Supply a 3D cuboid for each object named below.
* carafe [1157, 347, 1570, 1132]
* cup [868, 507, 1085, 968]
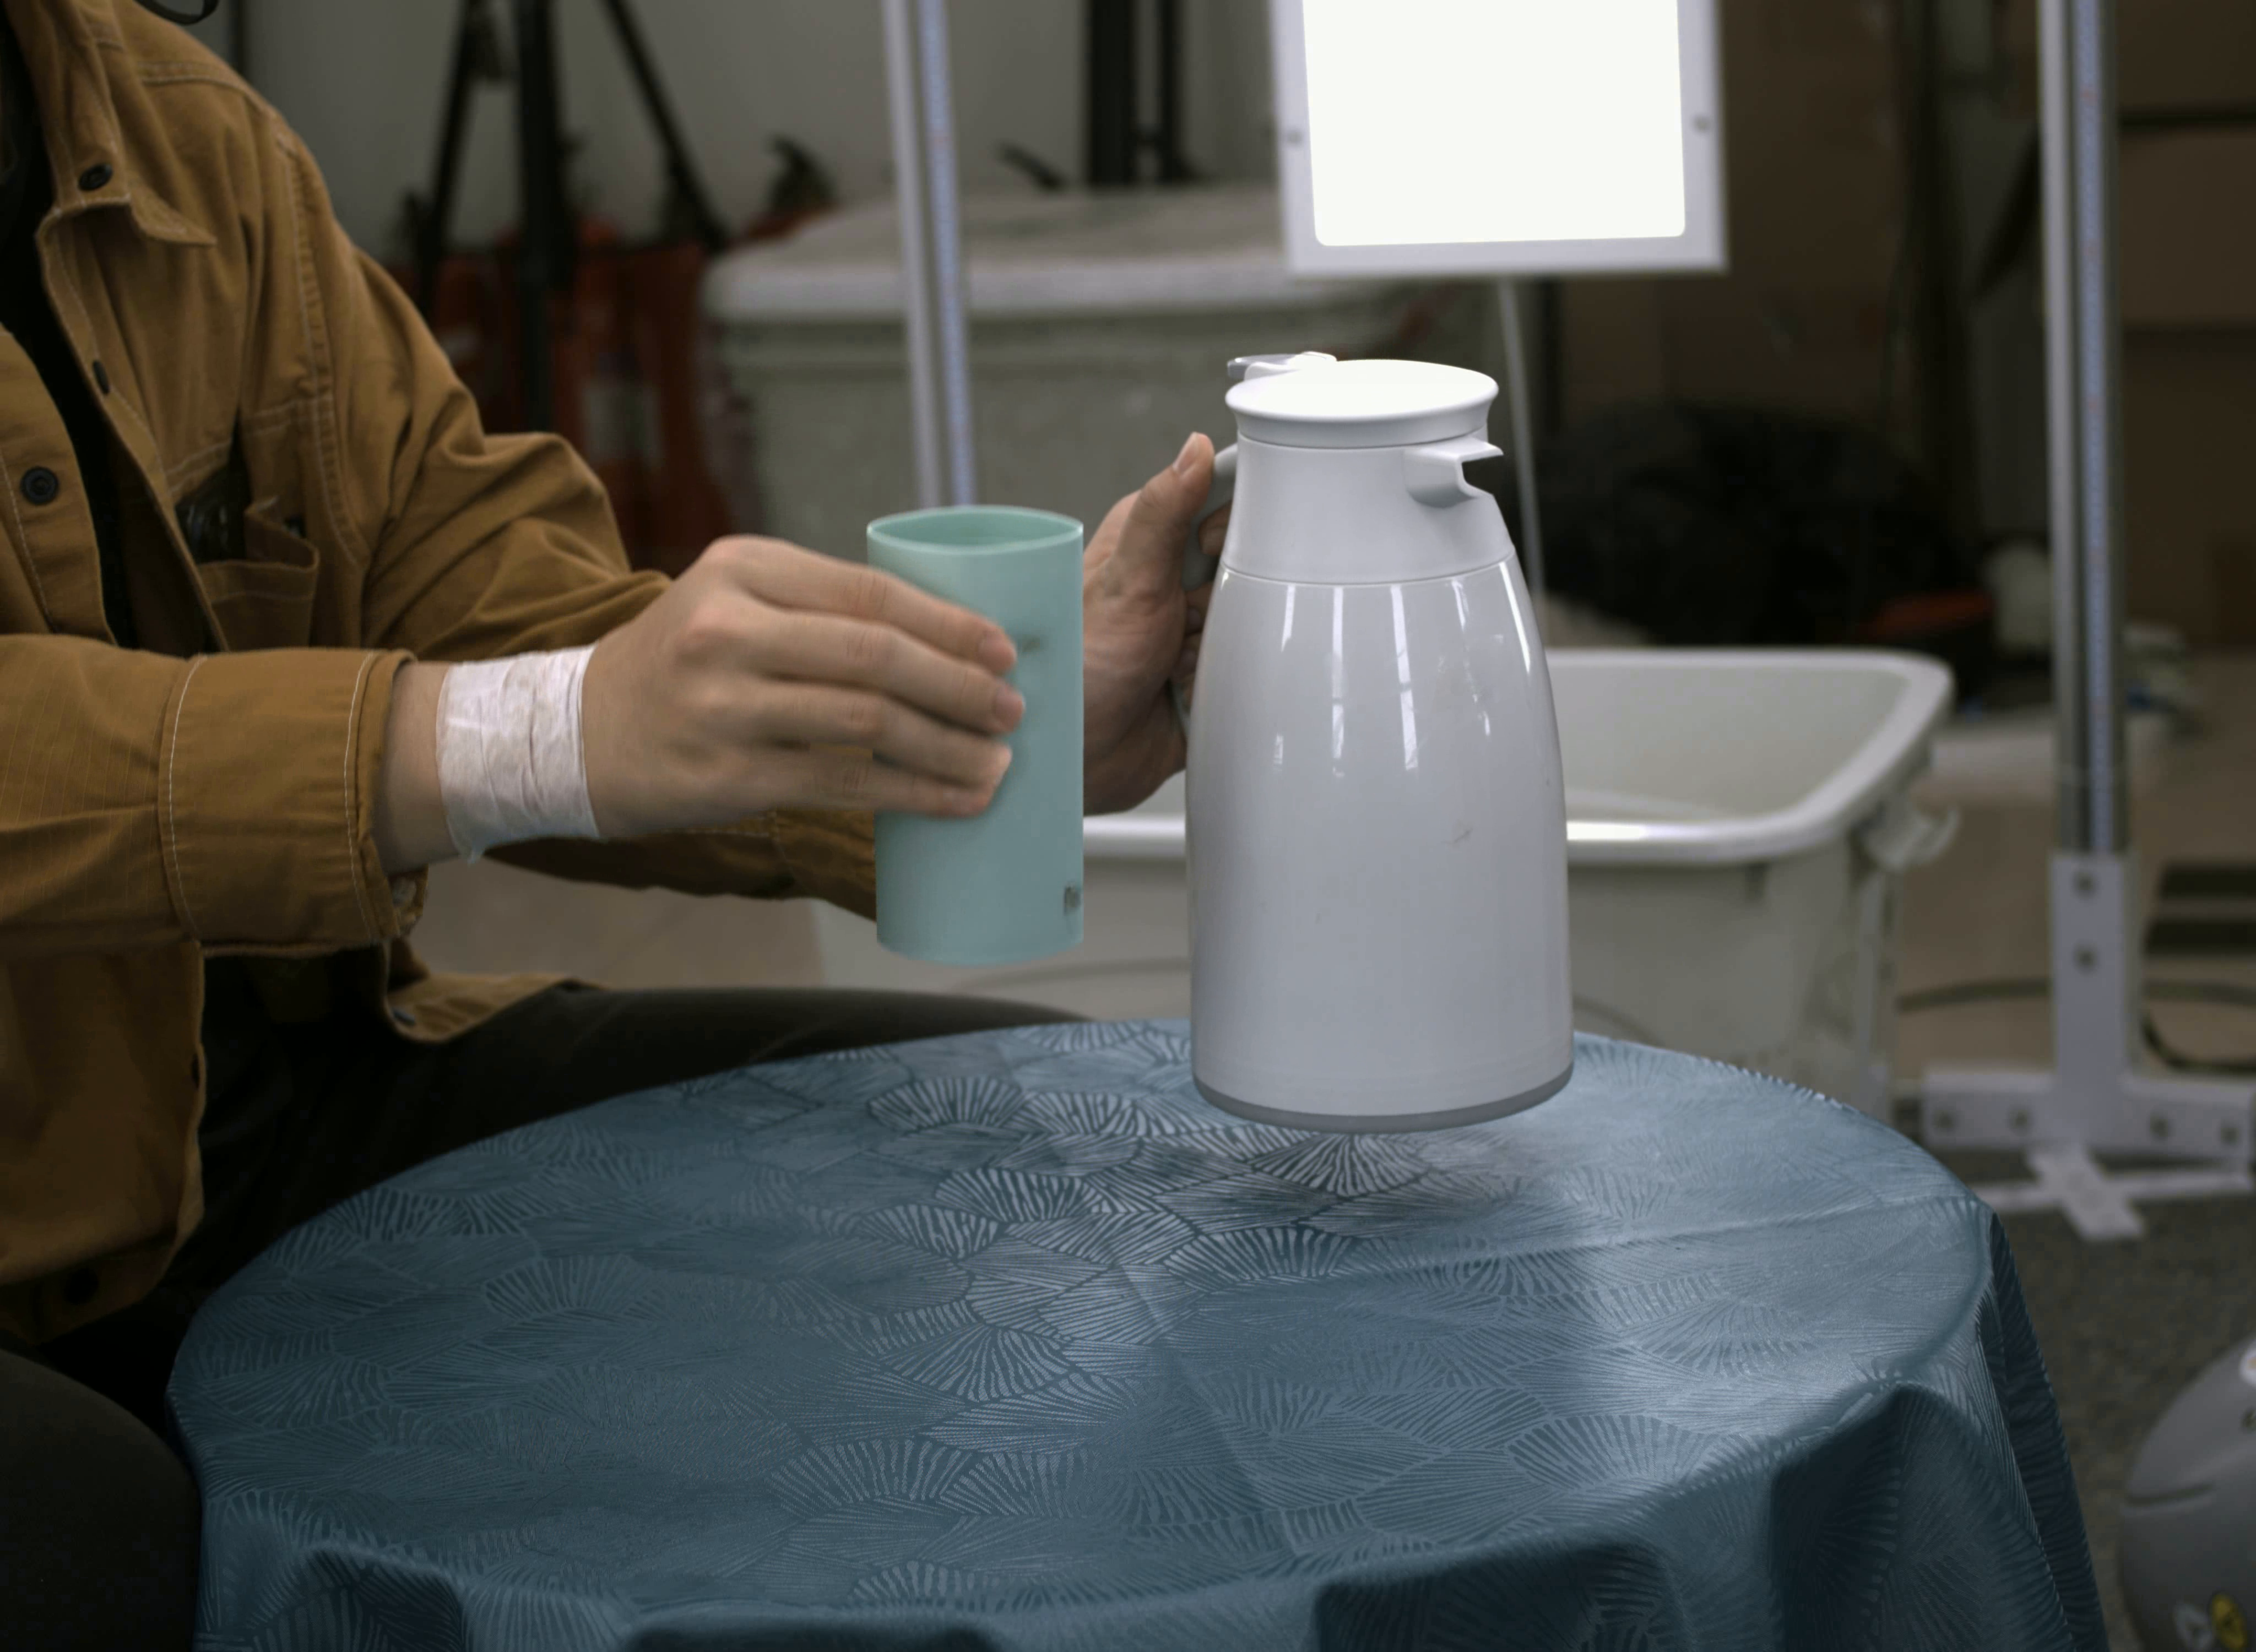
[{"bbox_3d":[0.069,-0.037,1.873,0.129,0.249,0.171,-13,17,-34],"label":"carafe"},{"bbox_3d":[-0.047,-0.028,1.695,0.066,0.133,0.066,-1,14,-1],"label":"cup"}]
